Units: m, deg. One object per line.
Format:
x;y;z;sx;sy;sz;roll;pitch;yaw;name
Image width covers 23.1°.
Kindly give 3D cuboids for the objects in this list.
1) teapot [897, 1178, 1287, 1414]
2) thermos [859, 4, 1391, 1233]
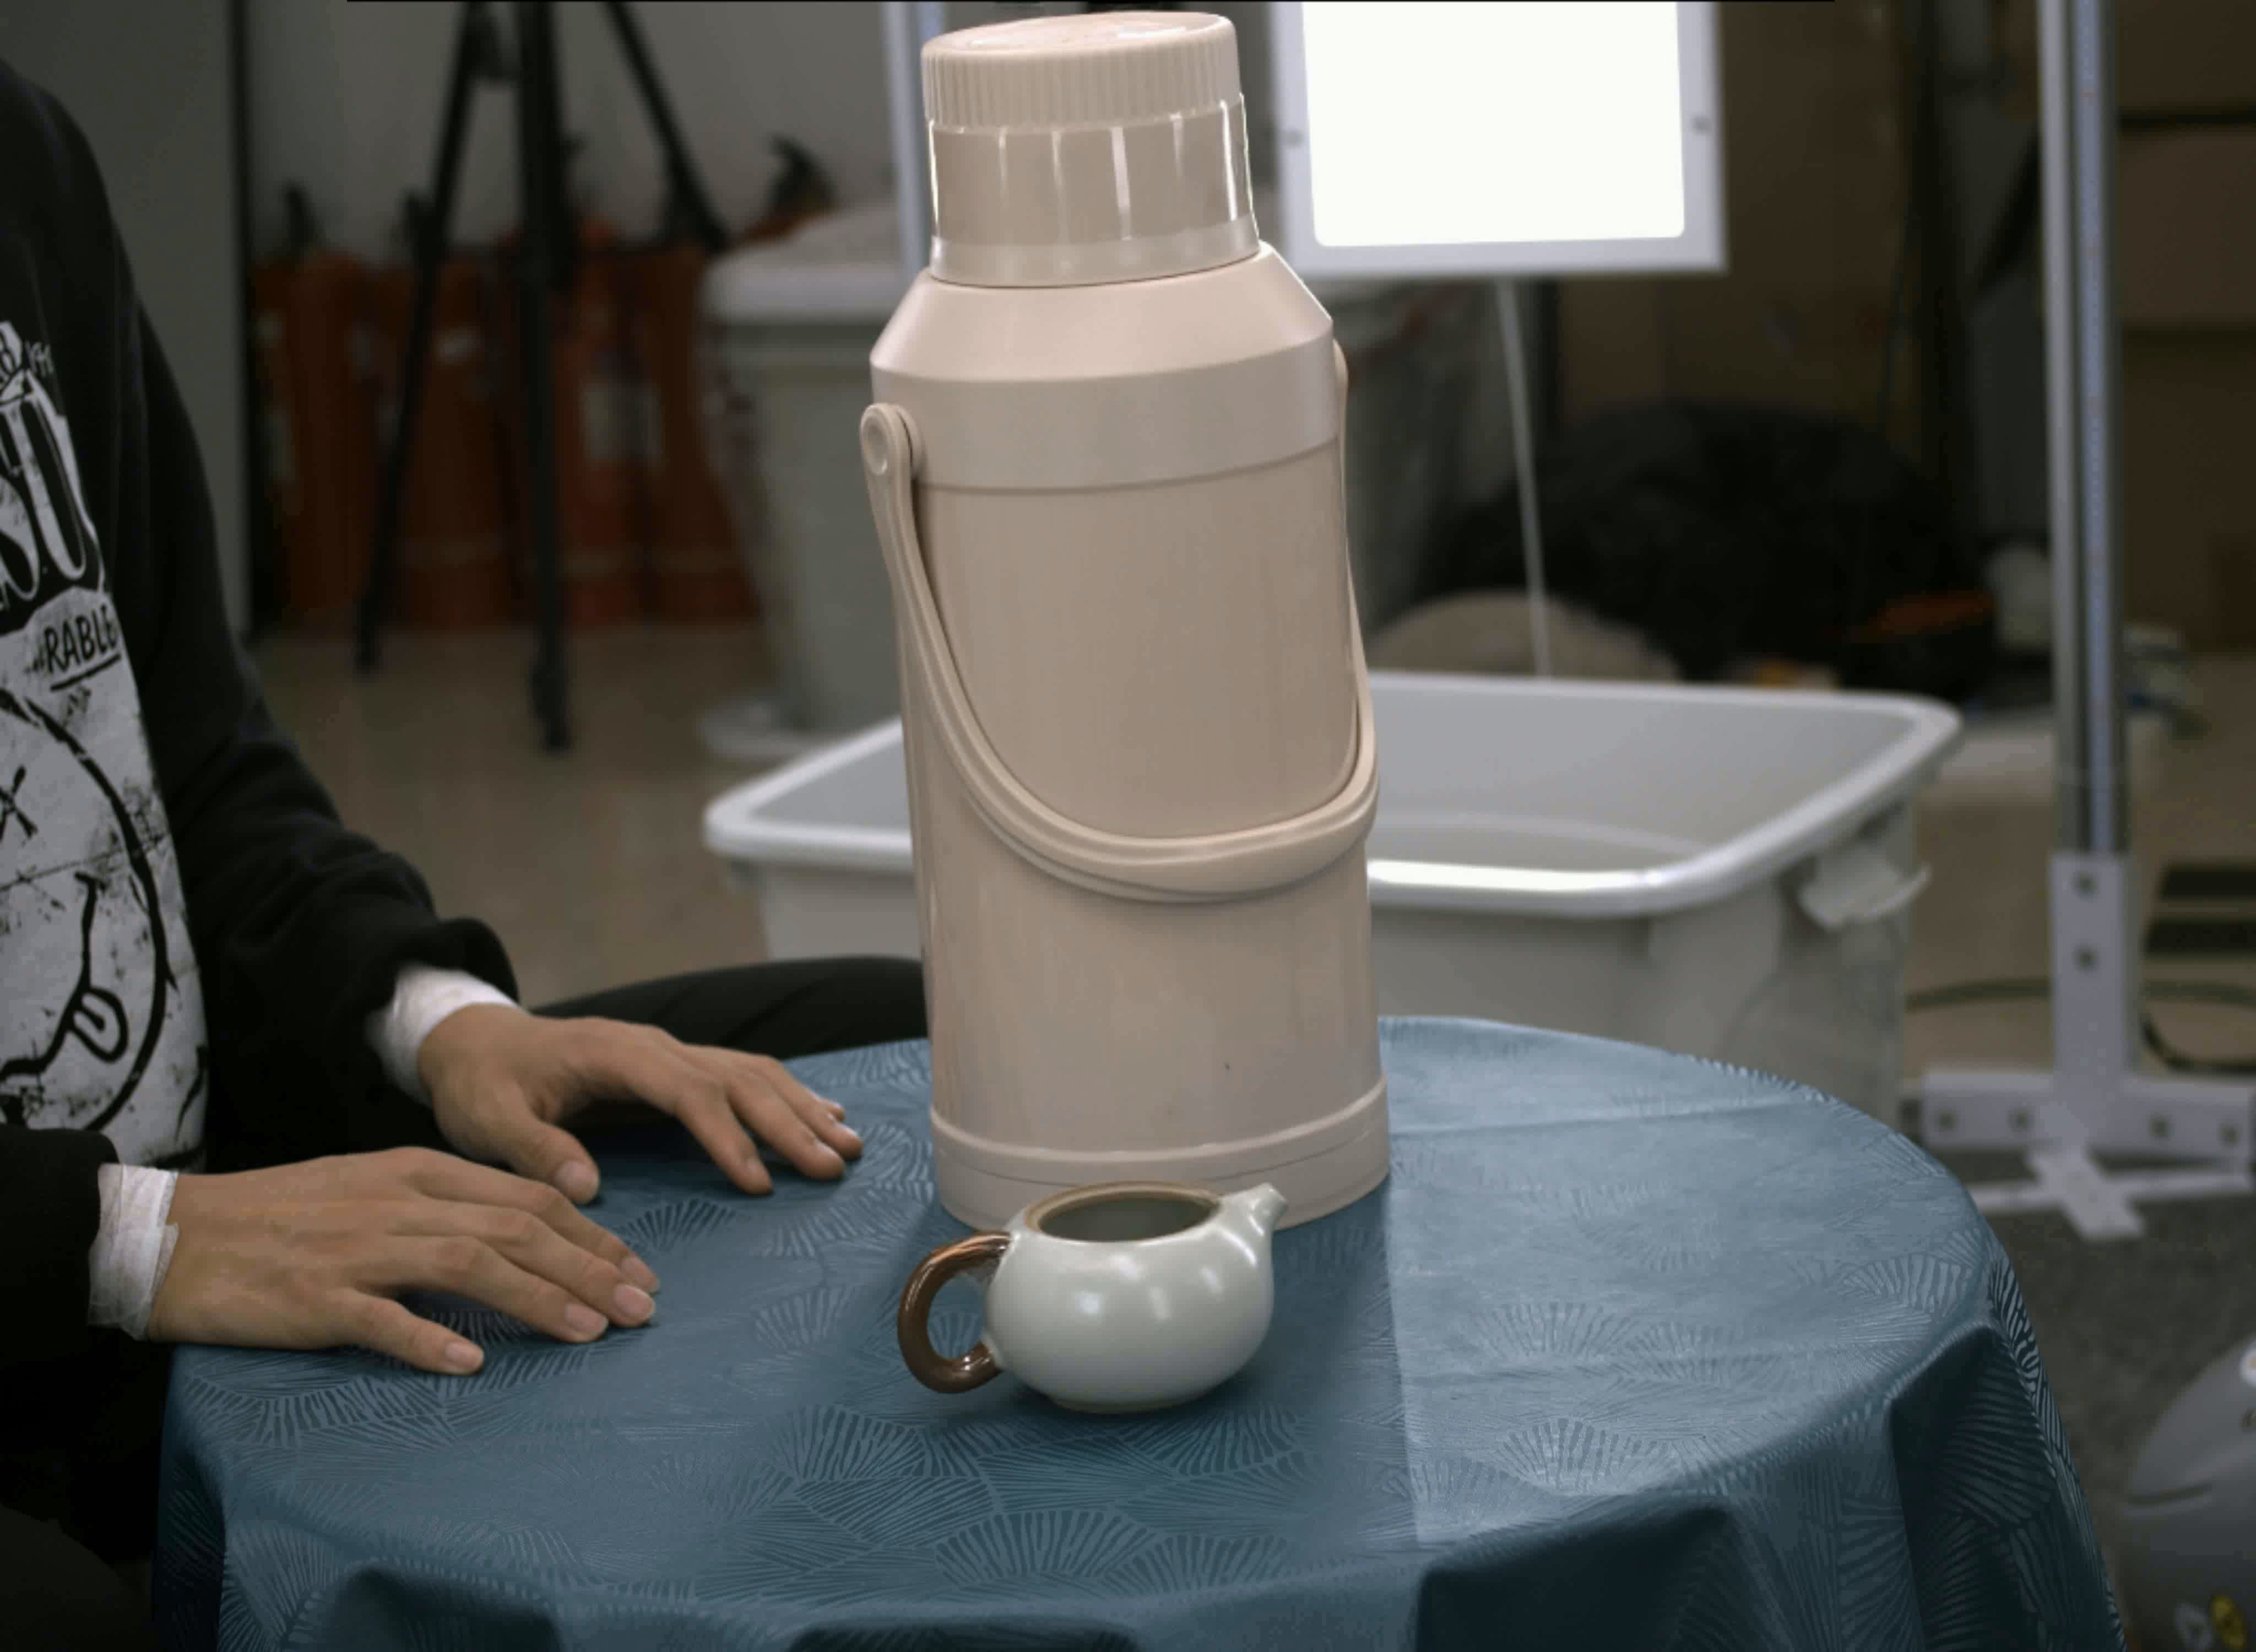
-0.010;0.146;1.700;0.126;0.060;0.093;-7;17;-17;teapot
-0.008;-0.072;1.877;0.171;0.408;0.211;-14;17;-27;thermos
